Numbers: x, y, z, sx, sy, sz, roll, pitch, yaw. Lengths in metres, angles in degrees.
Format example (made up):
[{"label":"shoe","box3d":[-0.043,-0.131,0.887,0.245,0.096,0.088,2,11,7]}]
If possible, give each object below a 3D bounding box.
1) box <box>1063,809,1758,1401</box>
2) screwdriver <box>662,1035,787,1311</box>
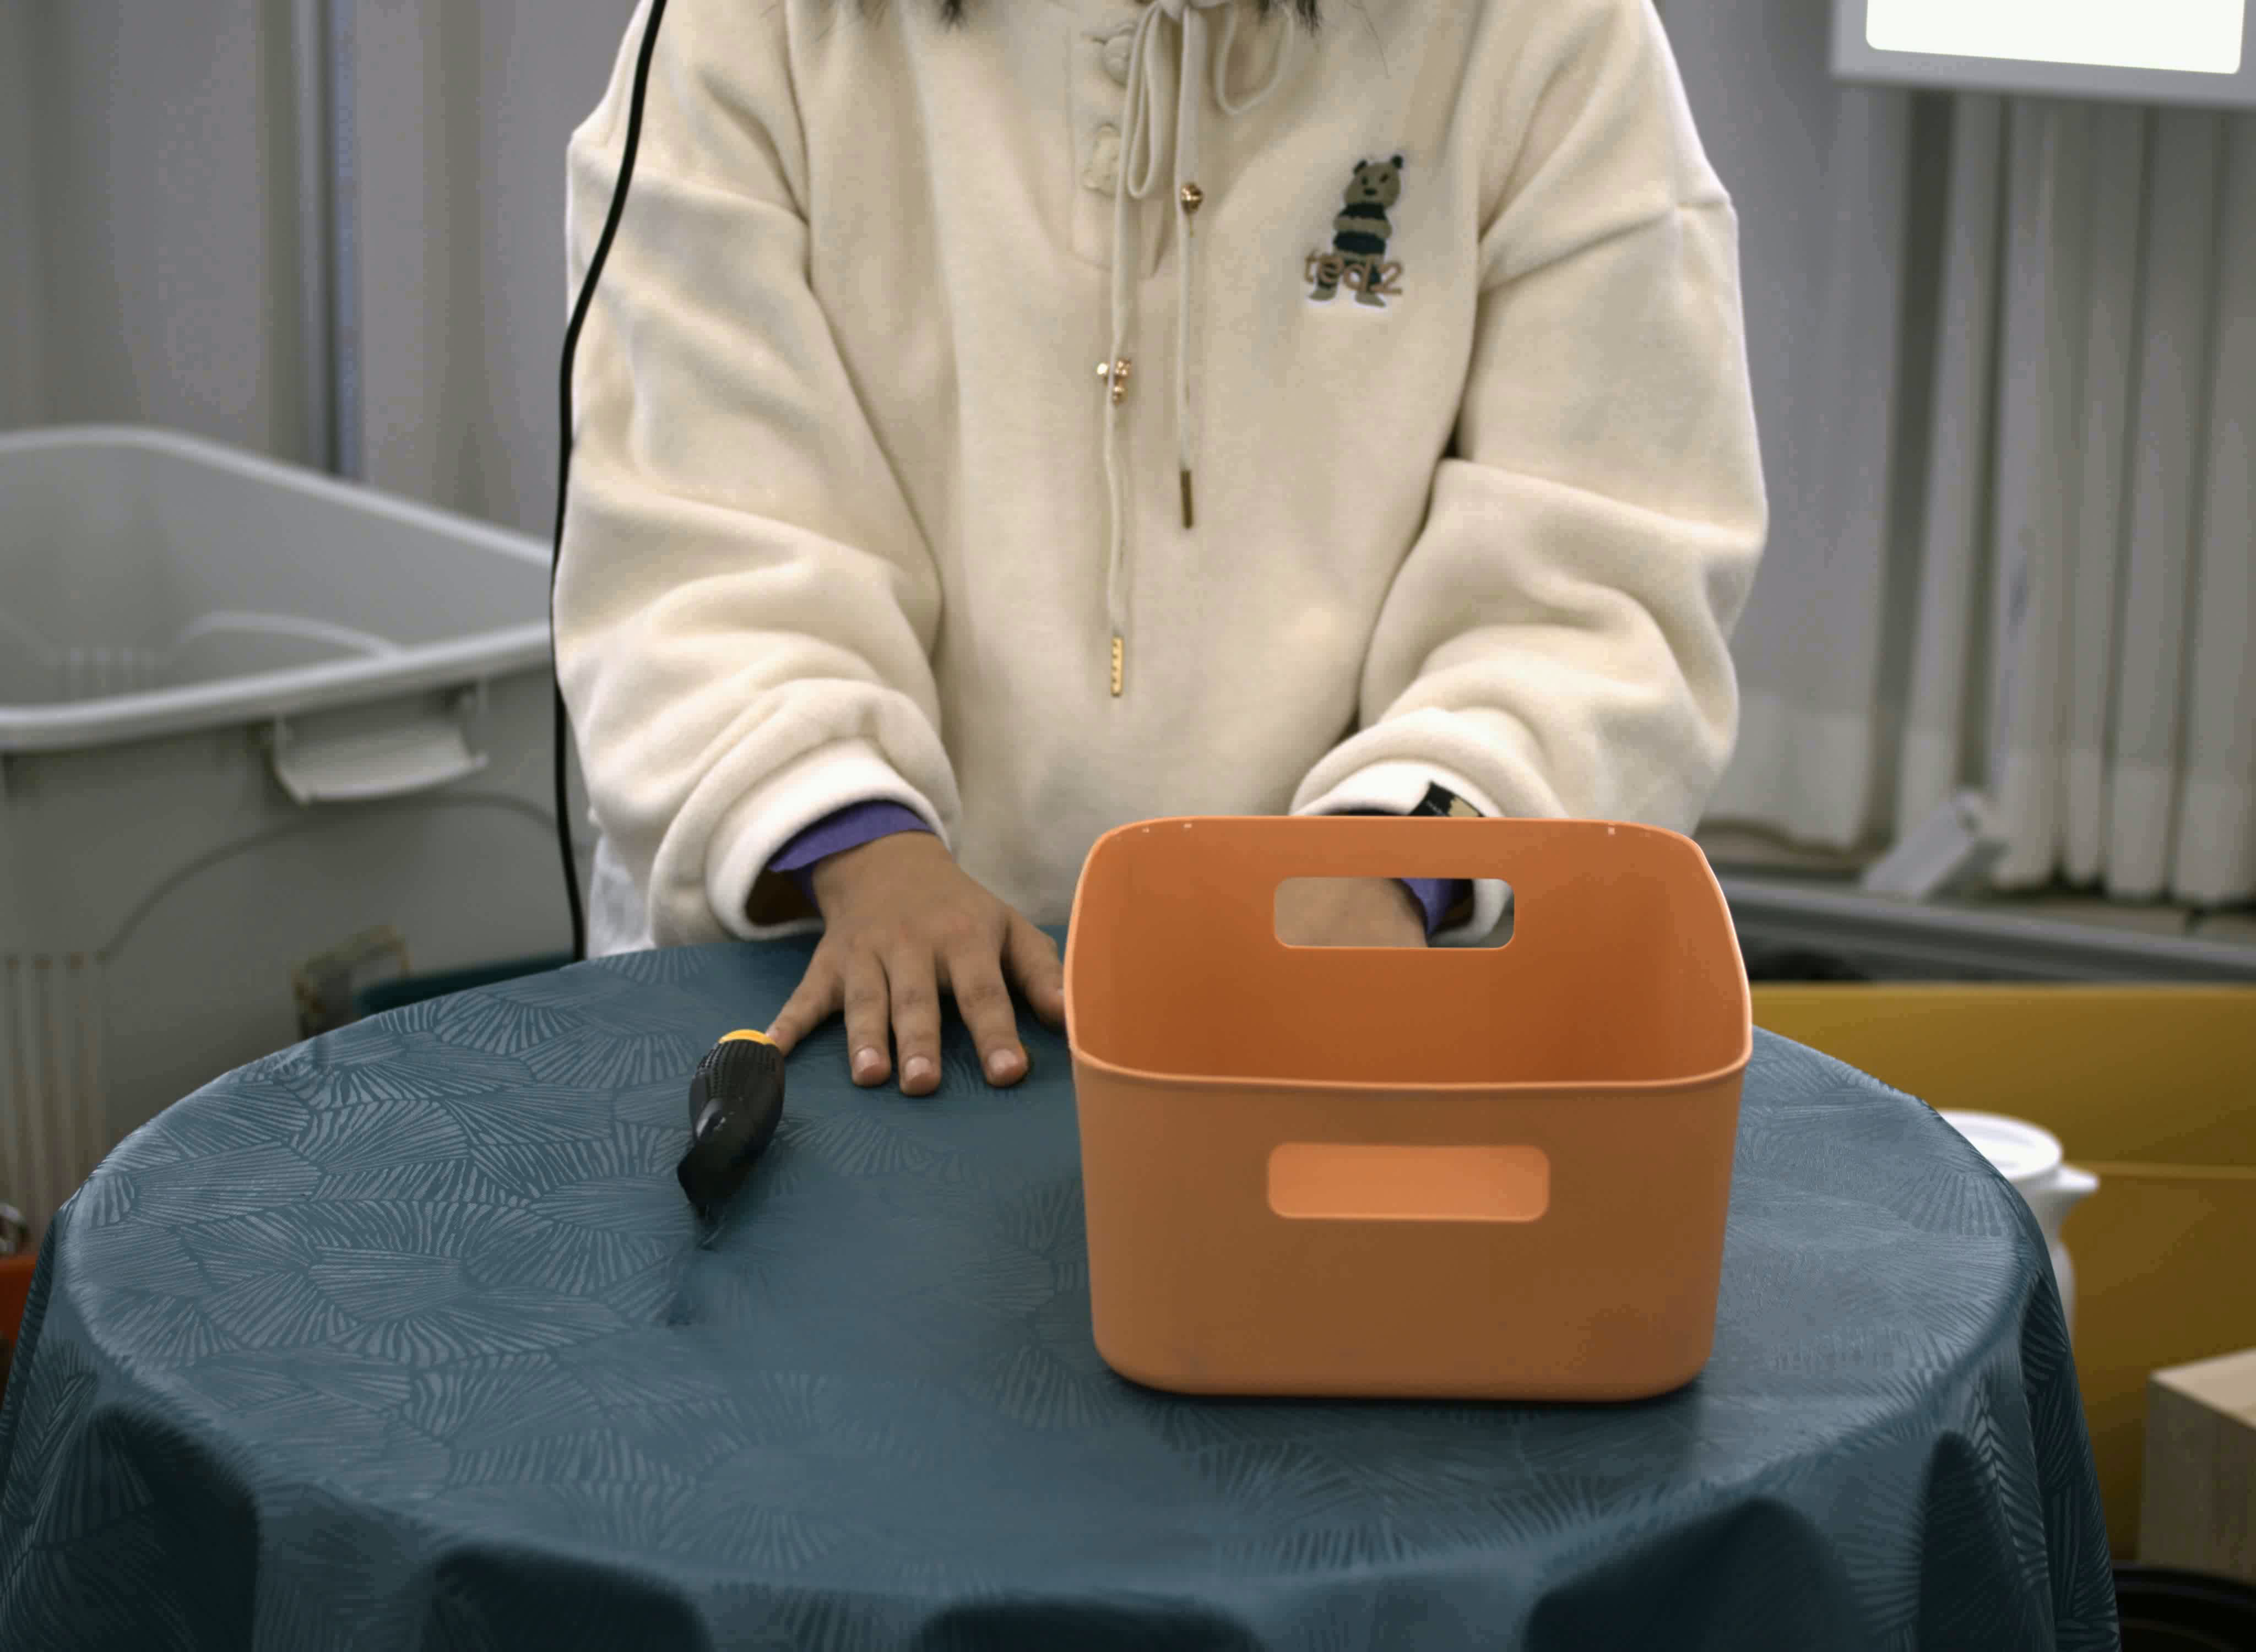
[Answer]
[{"label":"box","box3d":[0.081,0.079,1.547,0.199,0.103,0.272,0,16,1]},{"label":"screwdriver","box3d":[-0.129,0.107,1.599,0.031,0.032,0.197,2,18,5]}]
